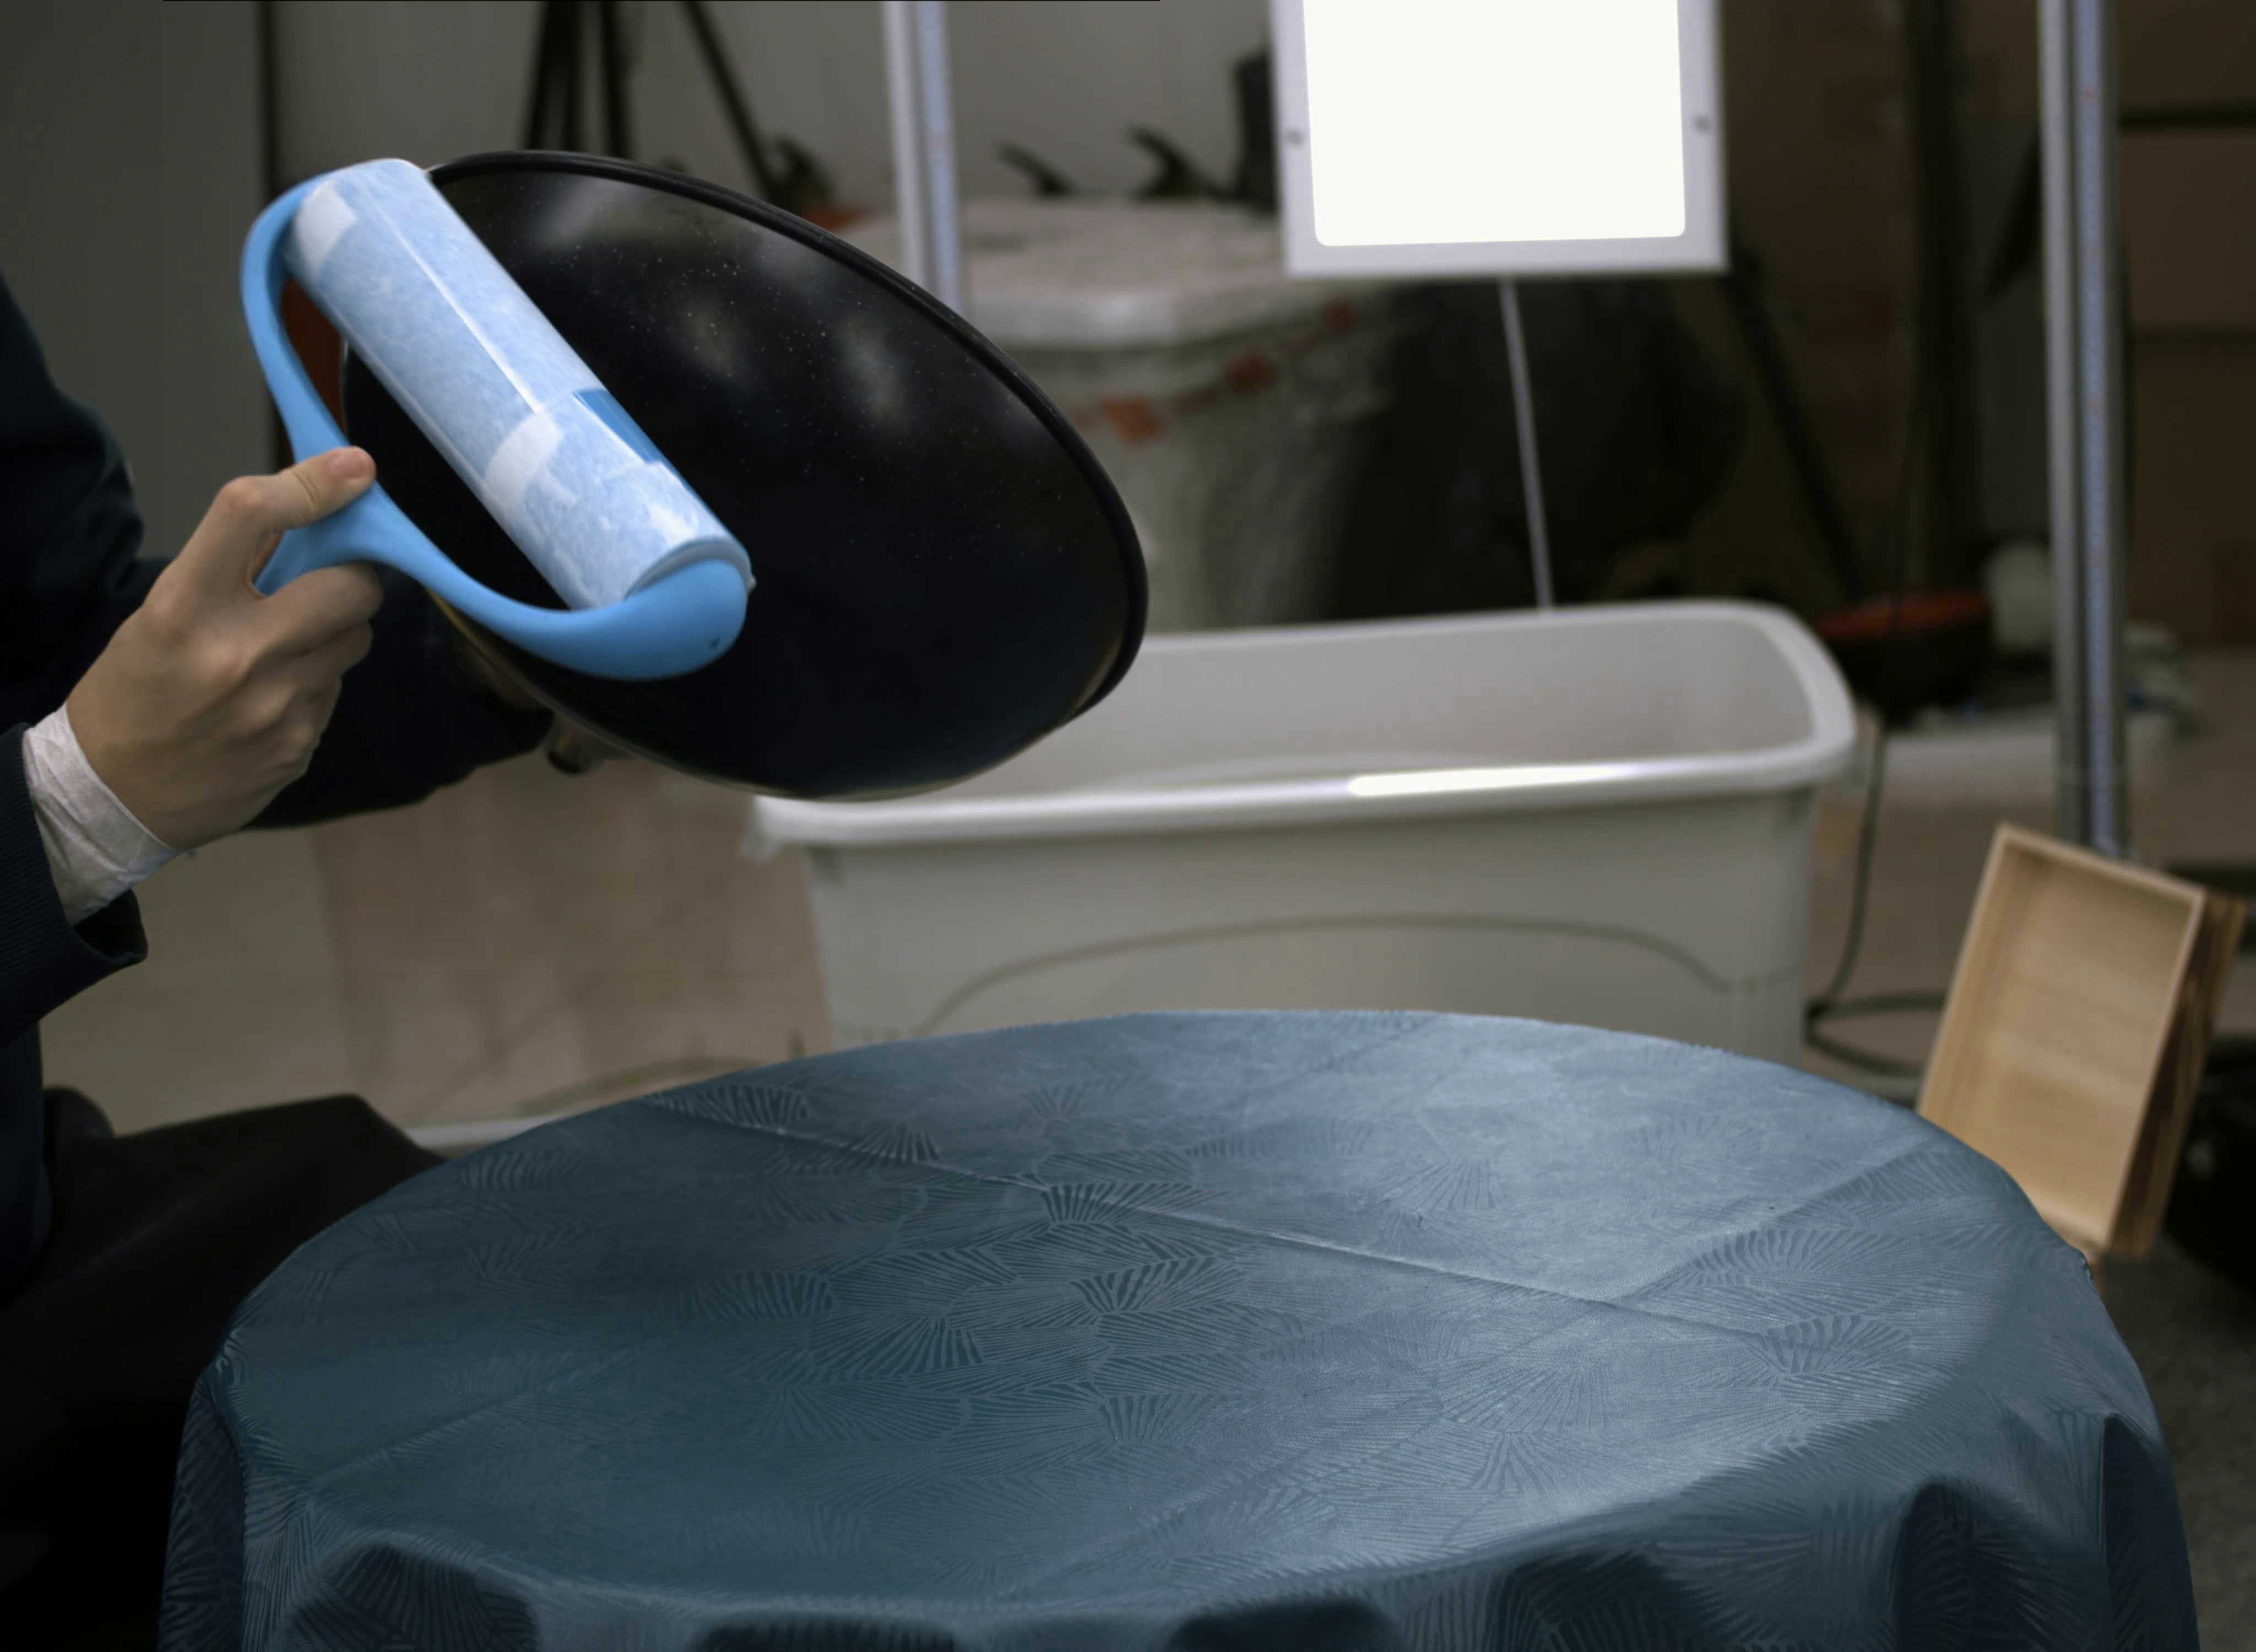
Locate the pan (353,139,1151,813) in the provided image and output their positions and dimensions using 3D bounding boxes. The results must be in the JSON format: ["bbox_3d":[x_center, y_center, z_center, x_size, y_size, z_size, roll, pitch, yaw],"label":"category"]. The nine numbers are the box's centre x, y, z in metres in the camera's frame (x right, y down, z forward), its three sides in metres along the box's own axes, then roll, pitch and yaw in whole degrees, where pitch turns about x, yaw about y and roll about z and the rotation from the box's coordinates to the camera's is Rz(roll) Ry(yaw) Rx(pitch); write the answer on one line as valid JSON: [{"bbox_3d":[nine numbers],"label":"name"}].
[{"bbox_3d":[-0.170,-0.076,1.978,0.309,0.110,0.484,32,-28,-4],"label":"pan"}]

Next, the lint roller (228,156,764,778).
[{"bbox_3d":[-0.230,-0.089,1.737,0.231,0.181,0.067,45,7,29],"label":"lint roller"}]
